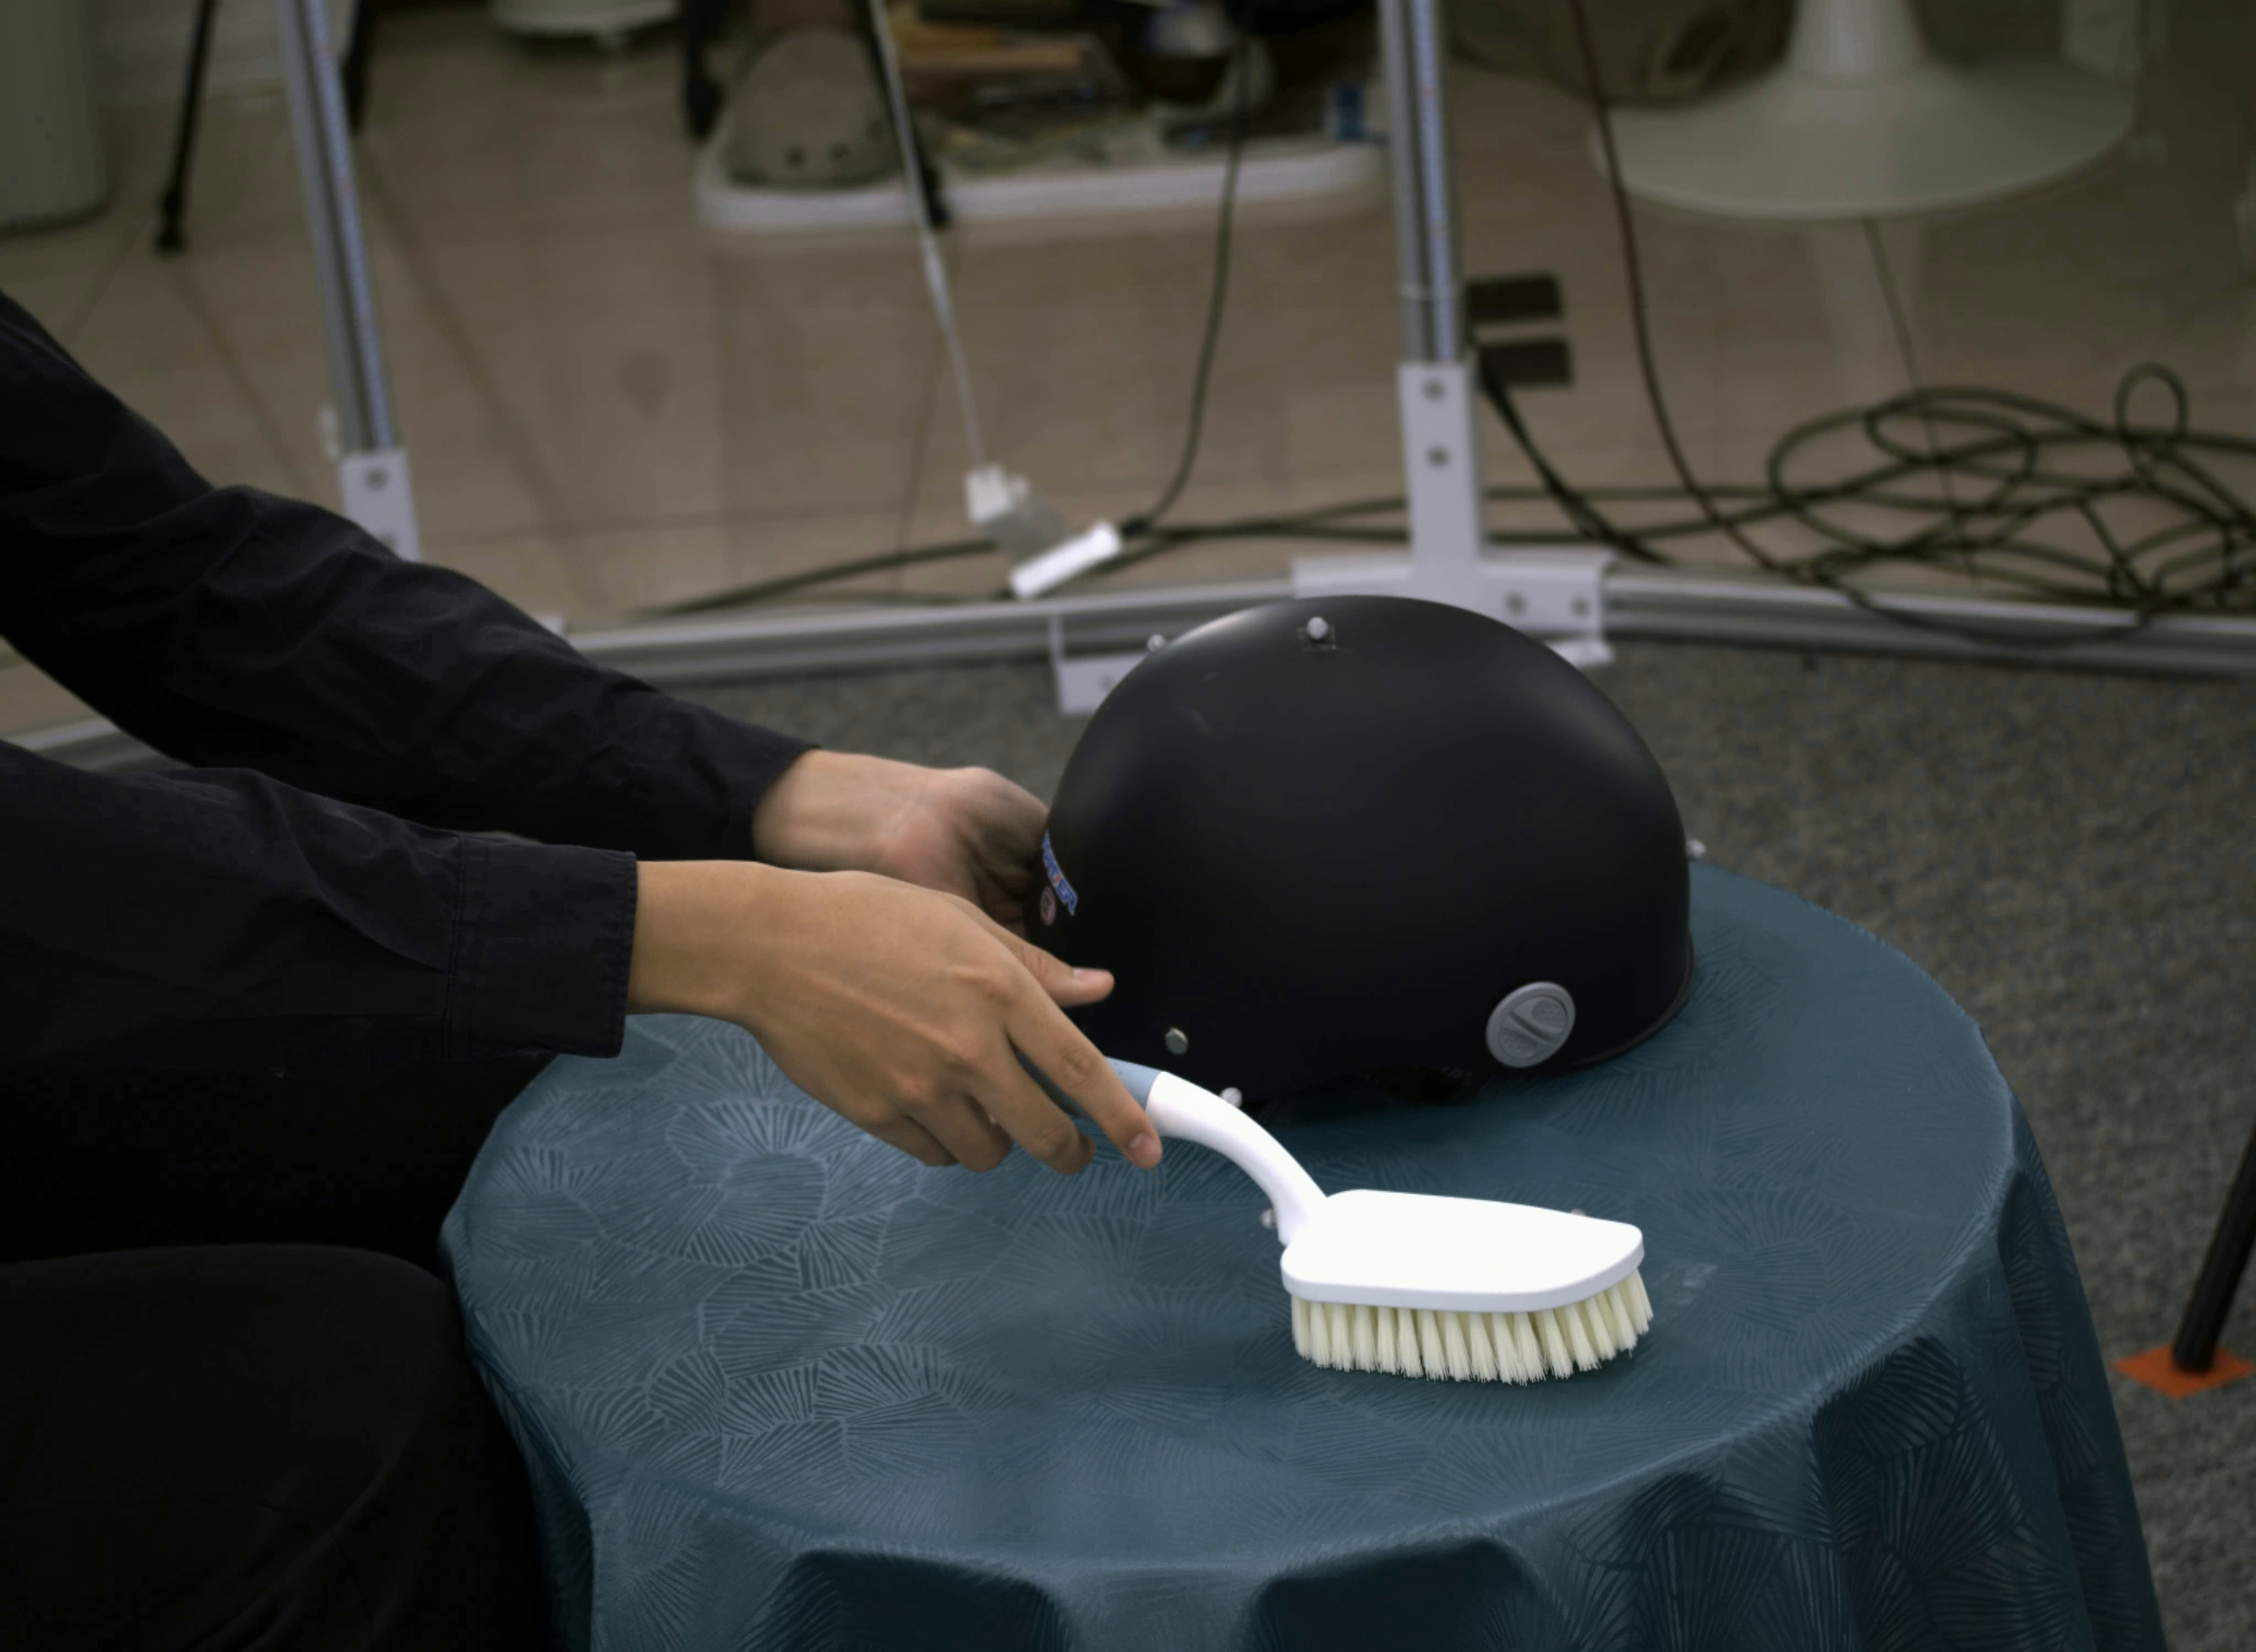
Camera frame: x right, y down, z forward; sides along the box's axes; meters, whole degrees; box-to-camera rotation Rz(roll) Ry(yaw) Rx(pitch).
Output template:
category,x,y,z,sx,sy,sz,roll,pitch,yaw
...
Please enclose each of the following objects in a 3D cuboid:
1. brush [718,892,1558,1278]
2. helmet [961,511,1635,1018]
category,x,y,z,sx,sy,sz,roll,pitch,yaw
brush,0.000,0.105,2.068,0.324,0.084,0.083,15,-6,14
helmet,0.069,-0.038,2.248,0.272,0.170,0.226,-6,36,-8
